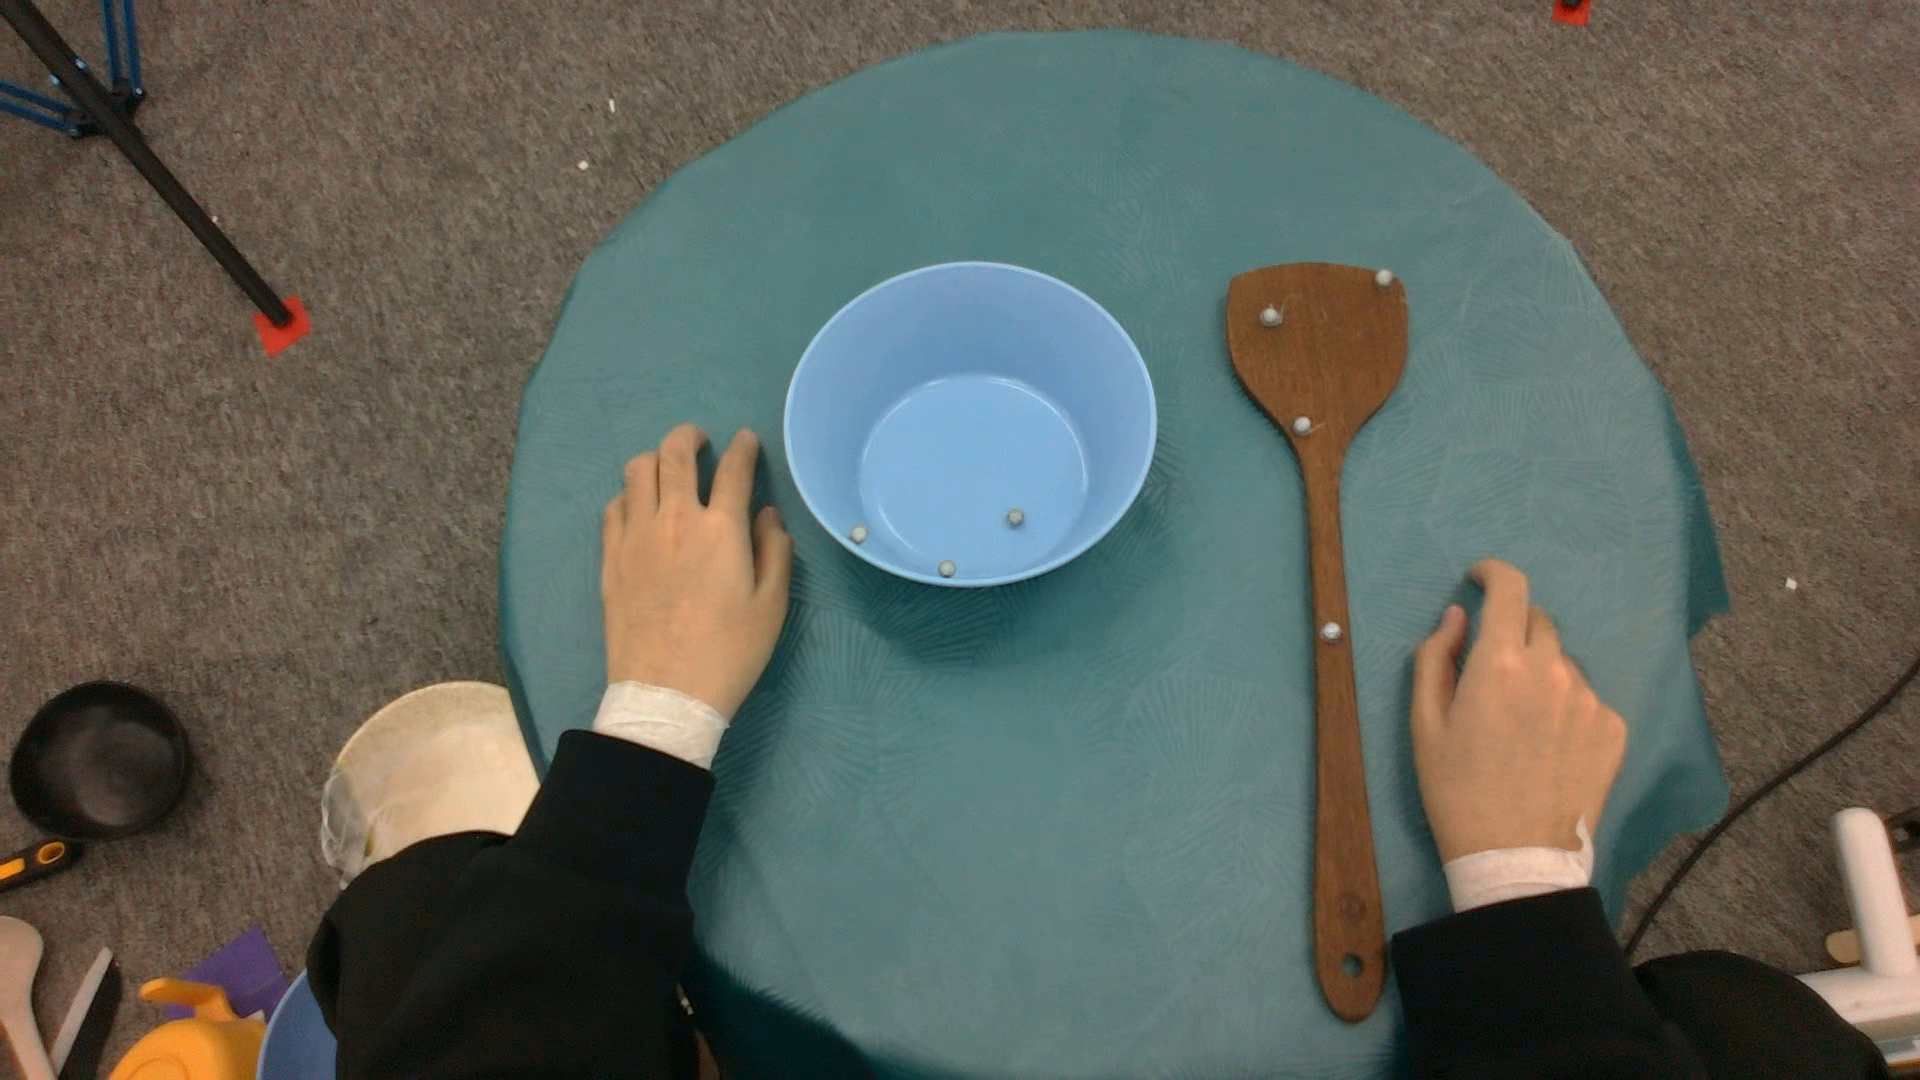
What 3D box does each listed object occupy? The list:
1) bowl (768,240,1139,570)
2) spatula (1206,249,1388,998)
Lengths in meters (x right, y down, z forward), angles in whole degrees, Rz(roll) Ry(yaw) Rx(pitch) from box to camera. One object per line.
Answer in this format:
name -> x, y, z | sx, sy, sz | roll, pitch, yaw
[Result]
bowl -> -0.002, -0.056, 0.677 | 0.176, 0.070, 0.176 | -1, 67, 2
spatula -> 0.171, 0.019, 0.668 | 0.096, 0.016, 0.387 | 2, 66, 3
